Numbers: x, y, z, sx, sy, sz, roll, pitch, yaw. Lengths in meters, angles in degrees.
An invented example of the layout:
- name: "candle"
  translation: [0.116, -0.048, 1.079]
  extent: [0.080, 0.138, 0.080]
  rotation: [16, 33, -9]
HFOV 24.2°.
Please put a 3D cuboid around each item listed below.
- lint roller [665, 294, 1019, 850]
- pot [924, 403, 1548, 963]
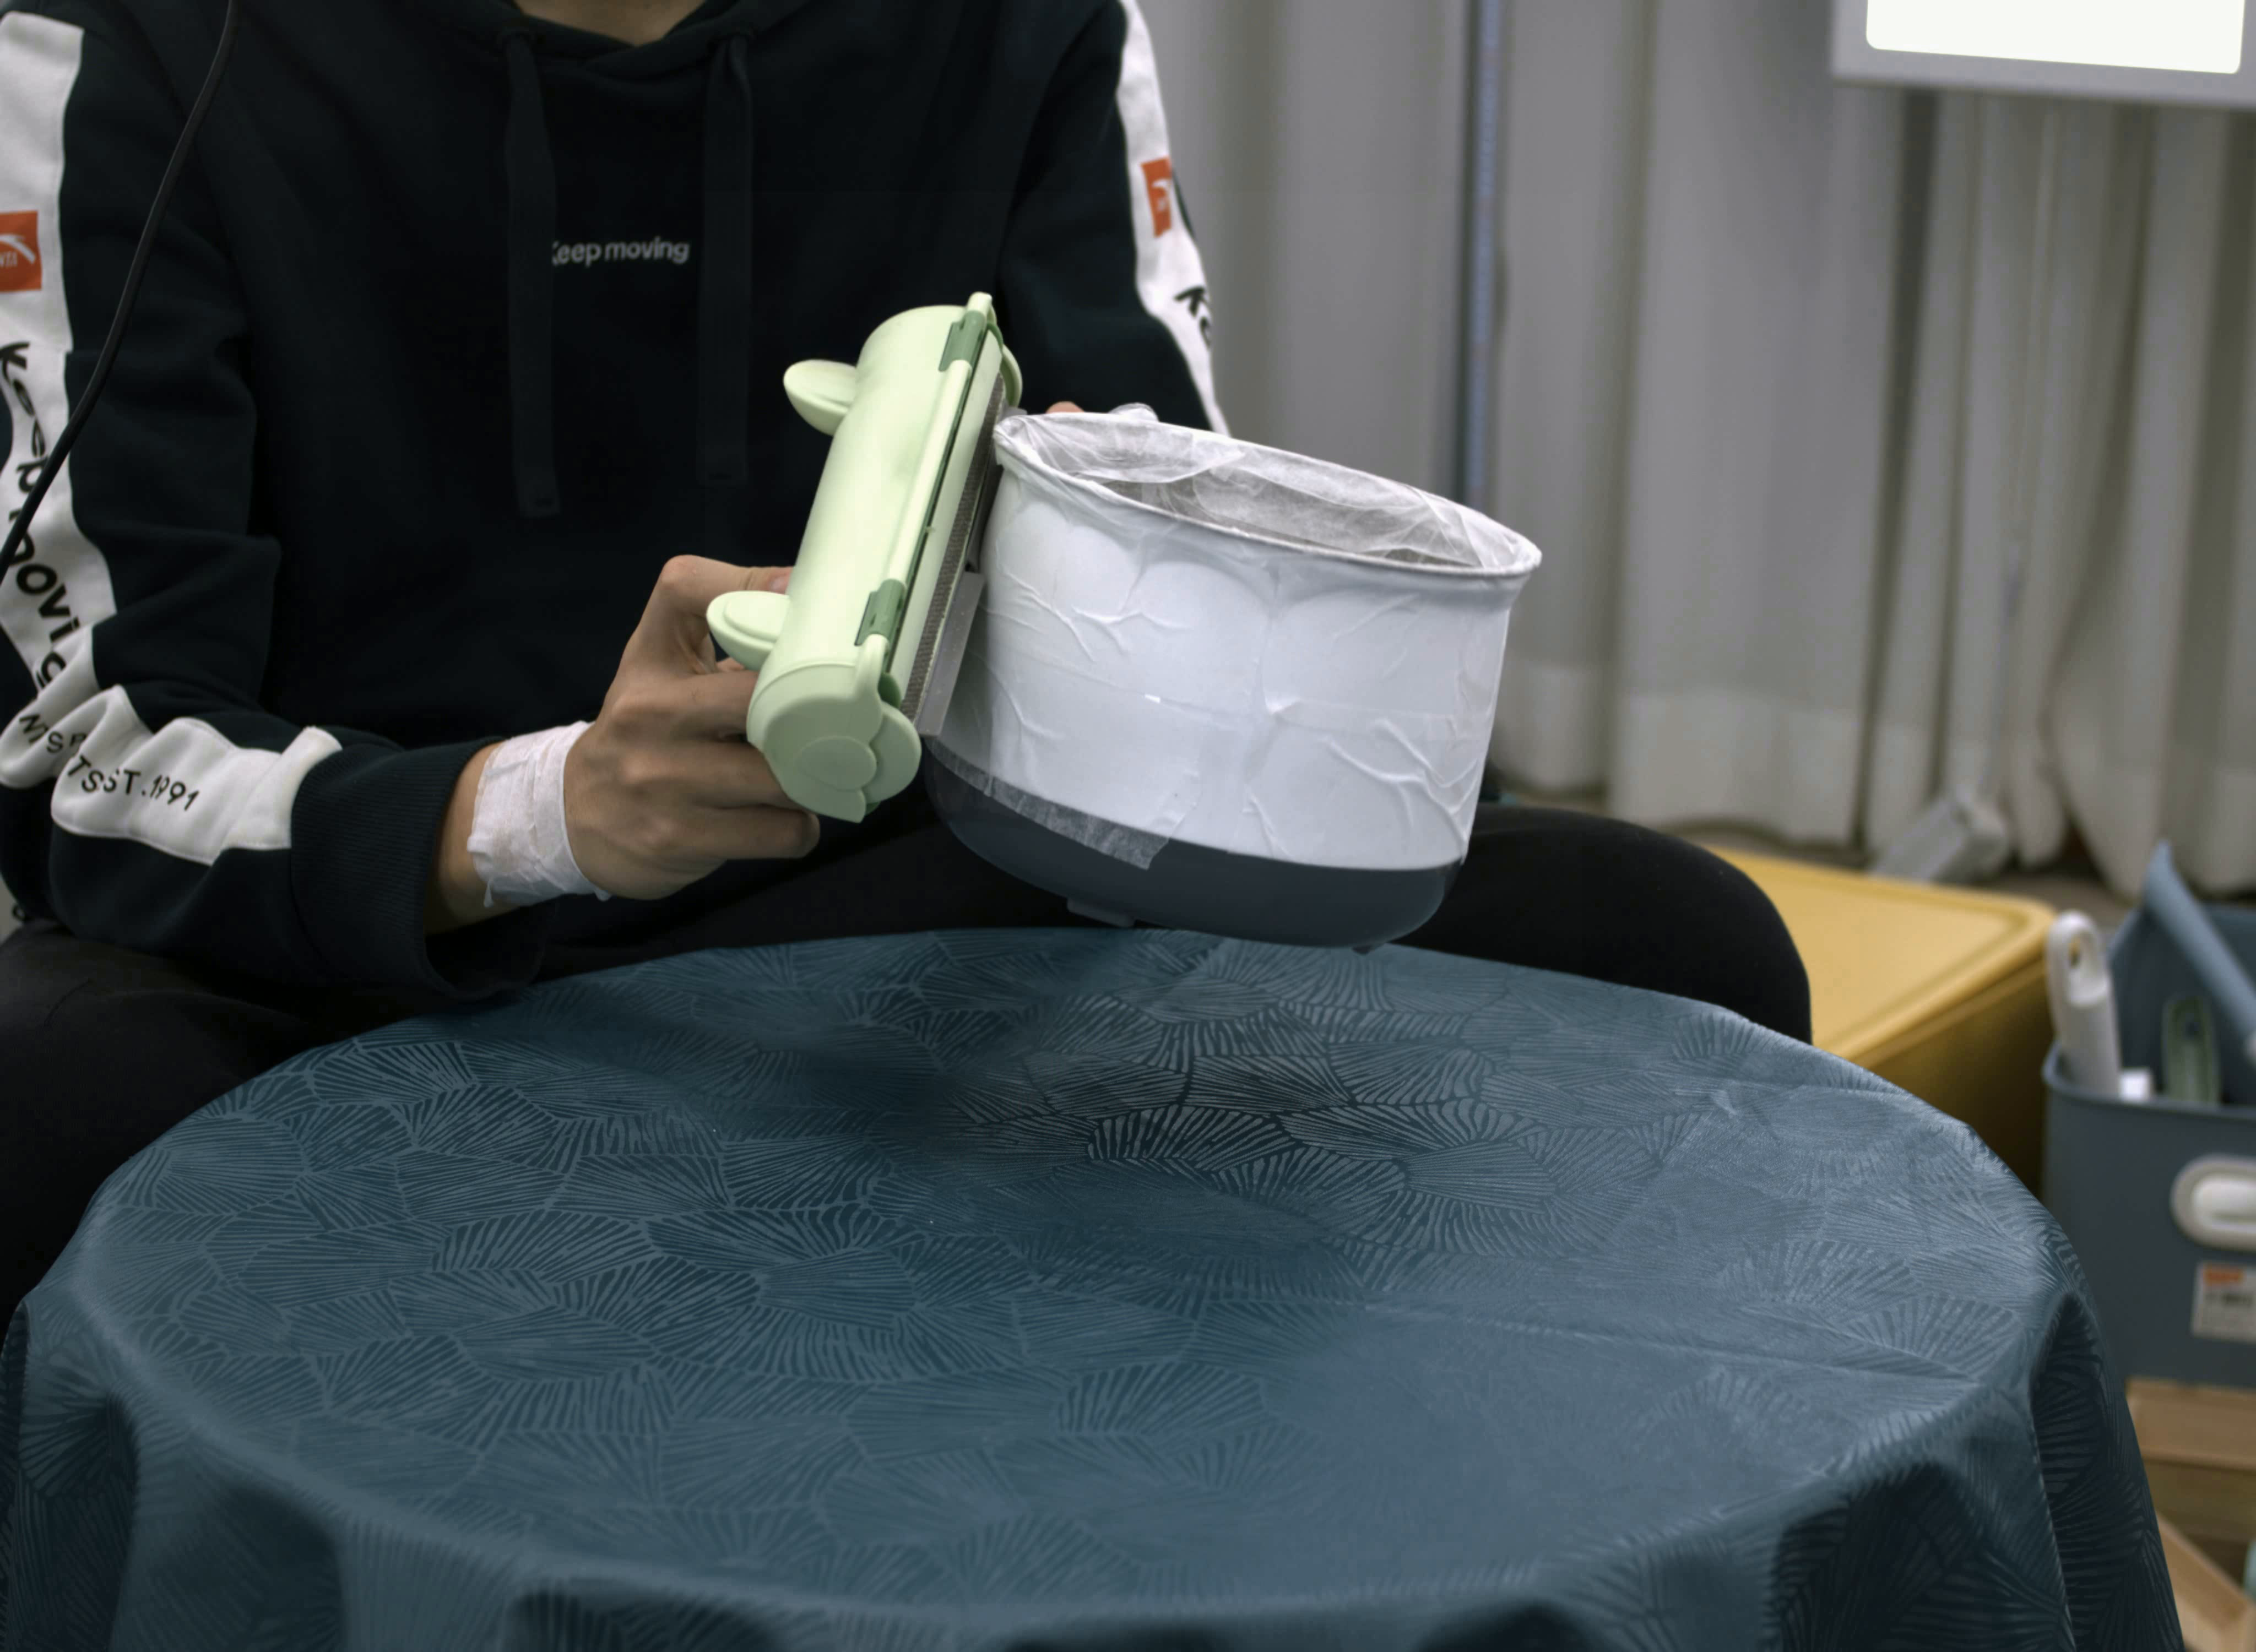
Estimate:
- name: "lint roller"
  translation: [-0.113, -0.060, 1.657]
  extent: [0.083, 0.183, 0.197]
  rotation: [35, 39, -20]
- name: "pot"
  translation: [0.019, -0.053, 1.684]
  extent: [0.180, 0.137, 0.231]
  rotation: [8, 15, -29]
